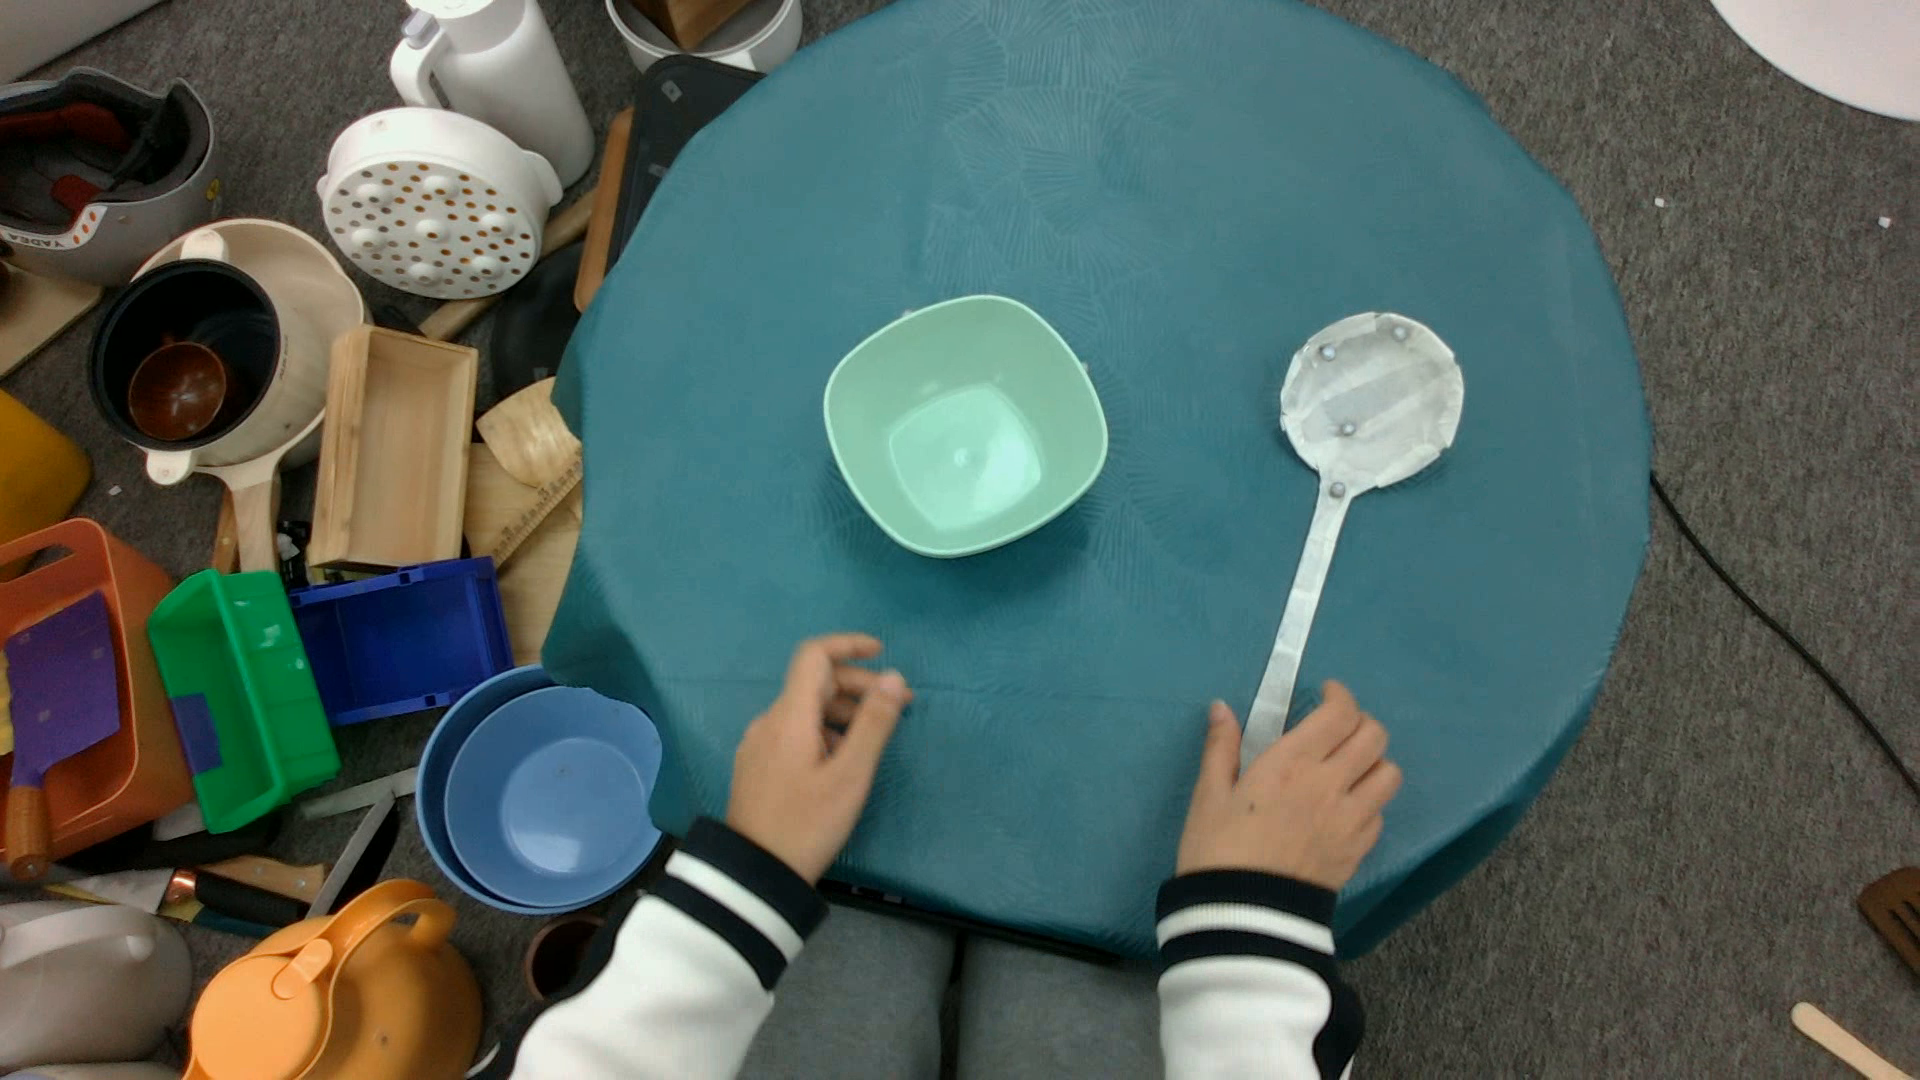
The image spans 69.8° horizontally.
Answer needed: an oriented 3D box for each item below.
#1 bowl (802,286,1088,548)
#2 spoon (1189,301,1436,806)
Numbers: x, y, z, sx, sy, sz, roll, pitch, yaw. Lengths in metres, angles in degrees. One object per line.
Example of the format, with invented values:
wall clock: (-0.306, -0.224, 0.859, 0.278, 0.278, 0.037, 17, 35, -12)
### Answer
bowl: (-0.008, -0.058, 0.739, 0.151, 0.058, 0.152, 0, 70, 0)
spoon: (0.168, 0.003, 0.717, 0.100, 0.059, 0.278, 20, 71, 12)
